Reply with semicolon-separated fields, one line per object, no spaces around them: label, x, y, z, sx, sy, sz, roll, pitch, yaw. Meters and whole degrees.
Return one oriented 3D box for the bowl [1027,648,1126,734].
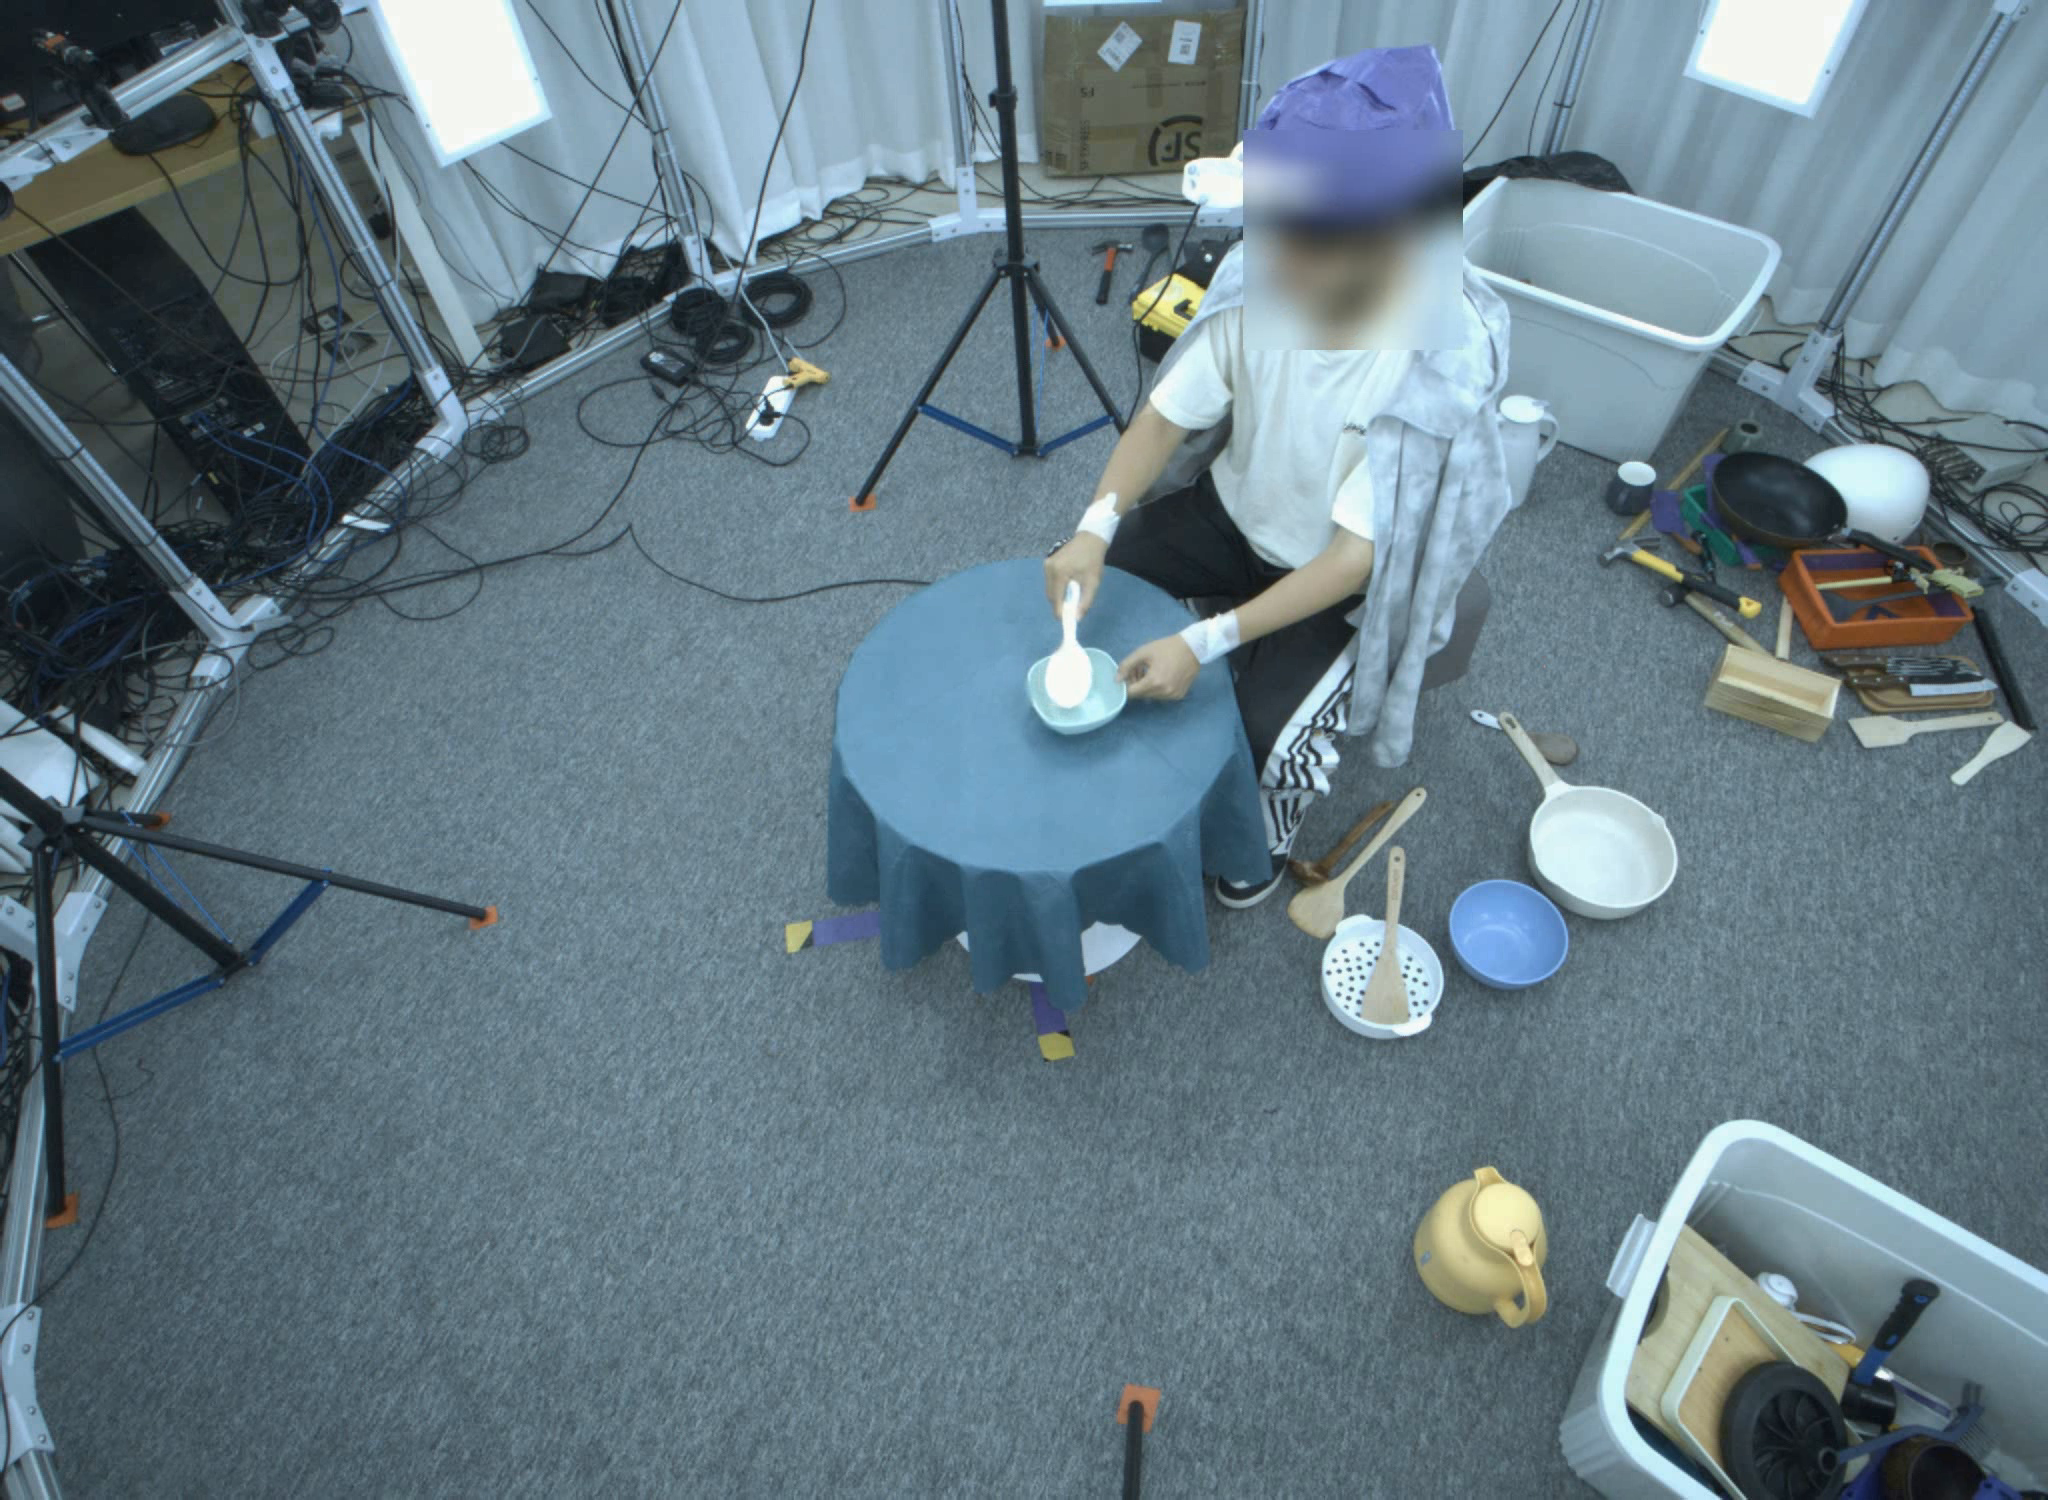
bowl;0.078;-0.077;1.806;0.151;0.059;0.150;-2;55;4

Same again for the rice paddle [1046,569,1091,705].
rice paddle;0.066;-0.165;1.798;0.068;0.030;0.204;-3;77;17
